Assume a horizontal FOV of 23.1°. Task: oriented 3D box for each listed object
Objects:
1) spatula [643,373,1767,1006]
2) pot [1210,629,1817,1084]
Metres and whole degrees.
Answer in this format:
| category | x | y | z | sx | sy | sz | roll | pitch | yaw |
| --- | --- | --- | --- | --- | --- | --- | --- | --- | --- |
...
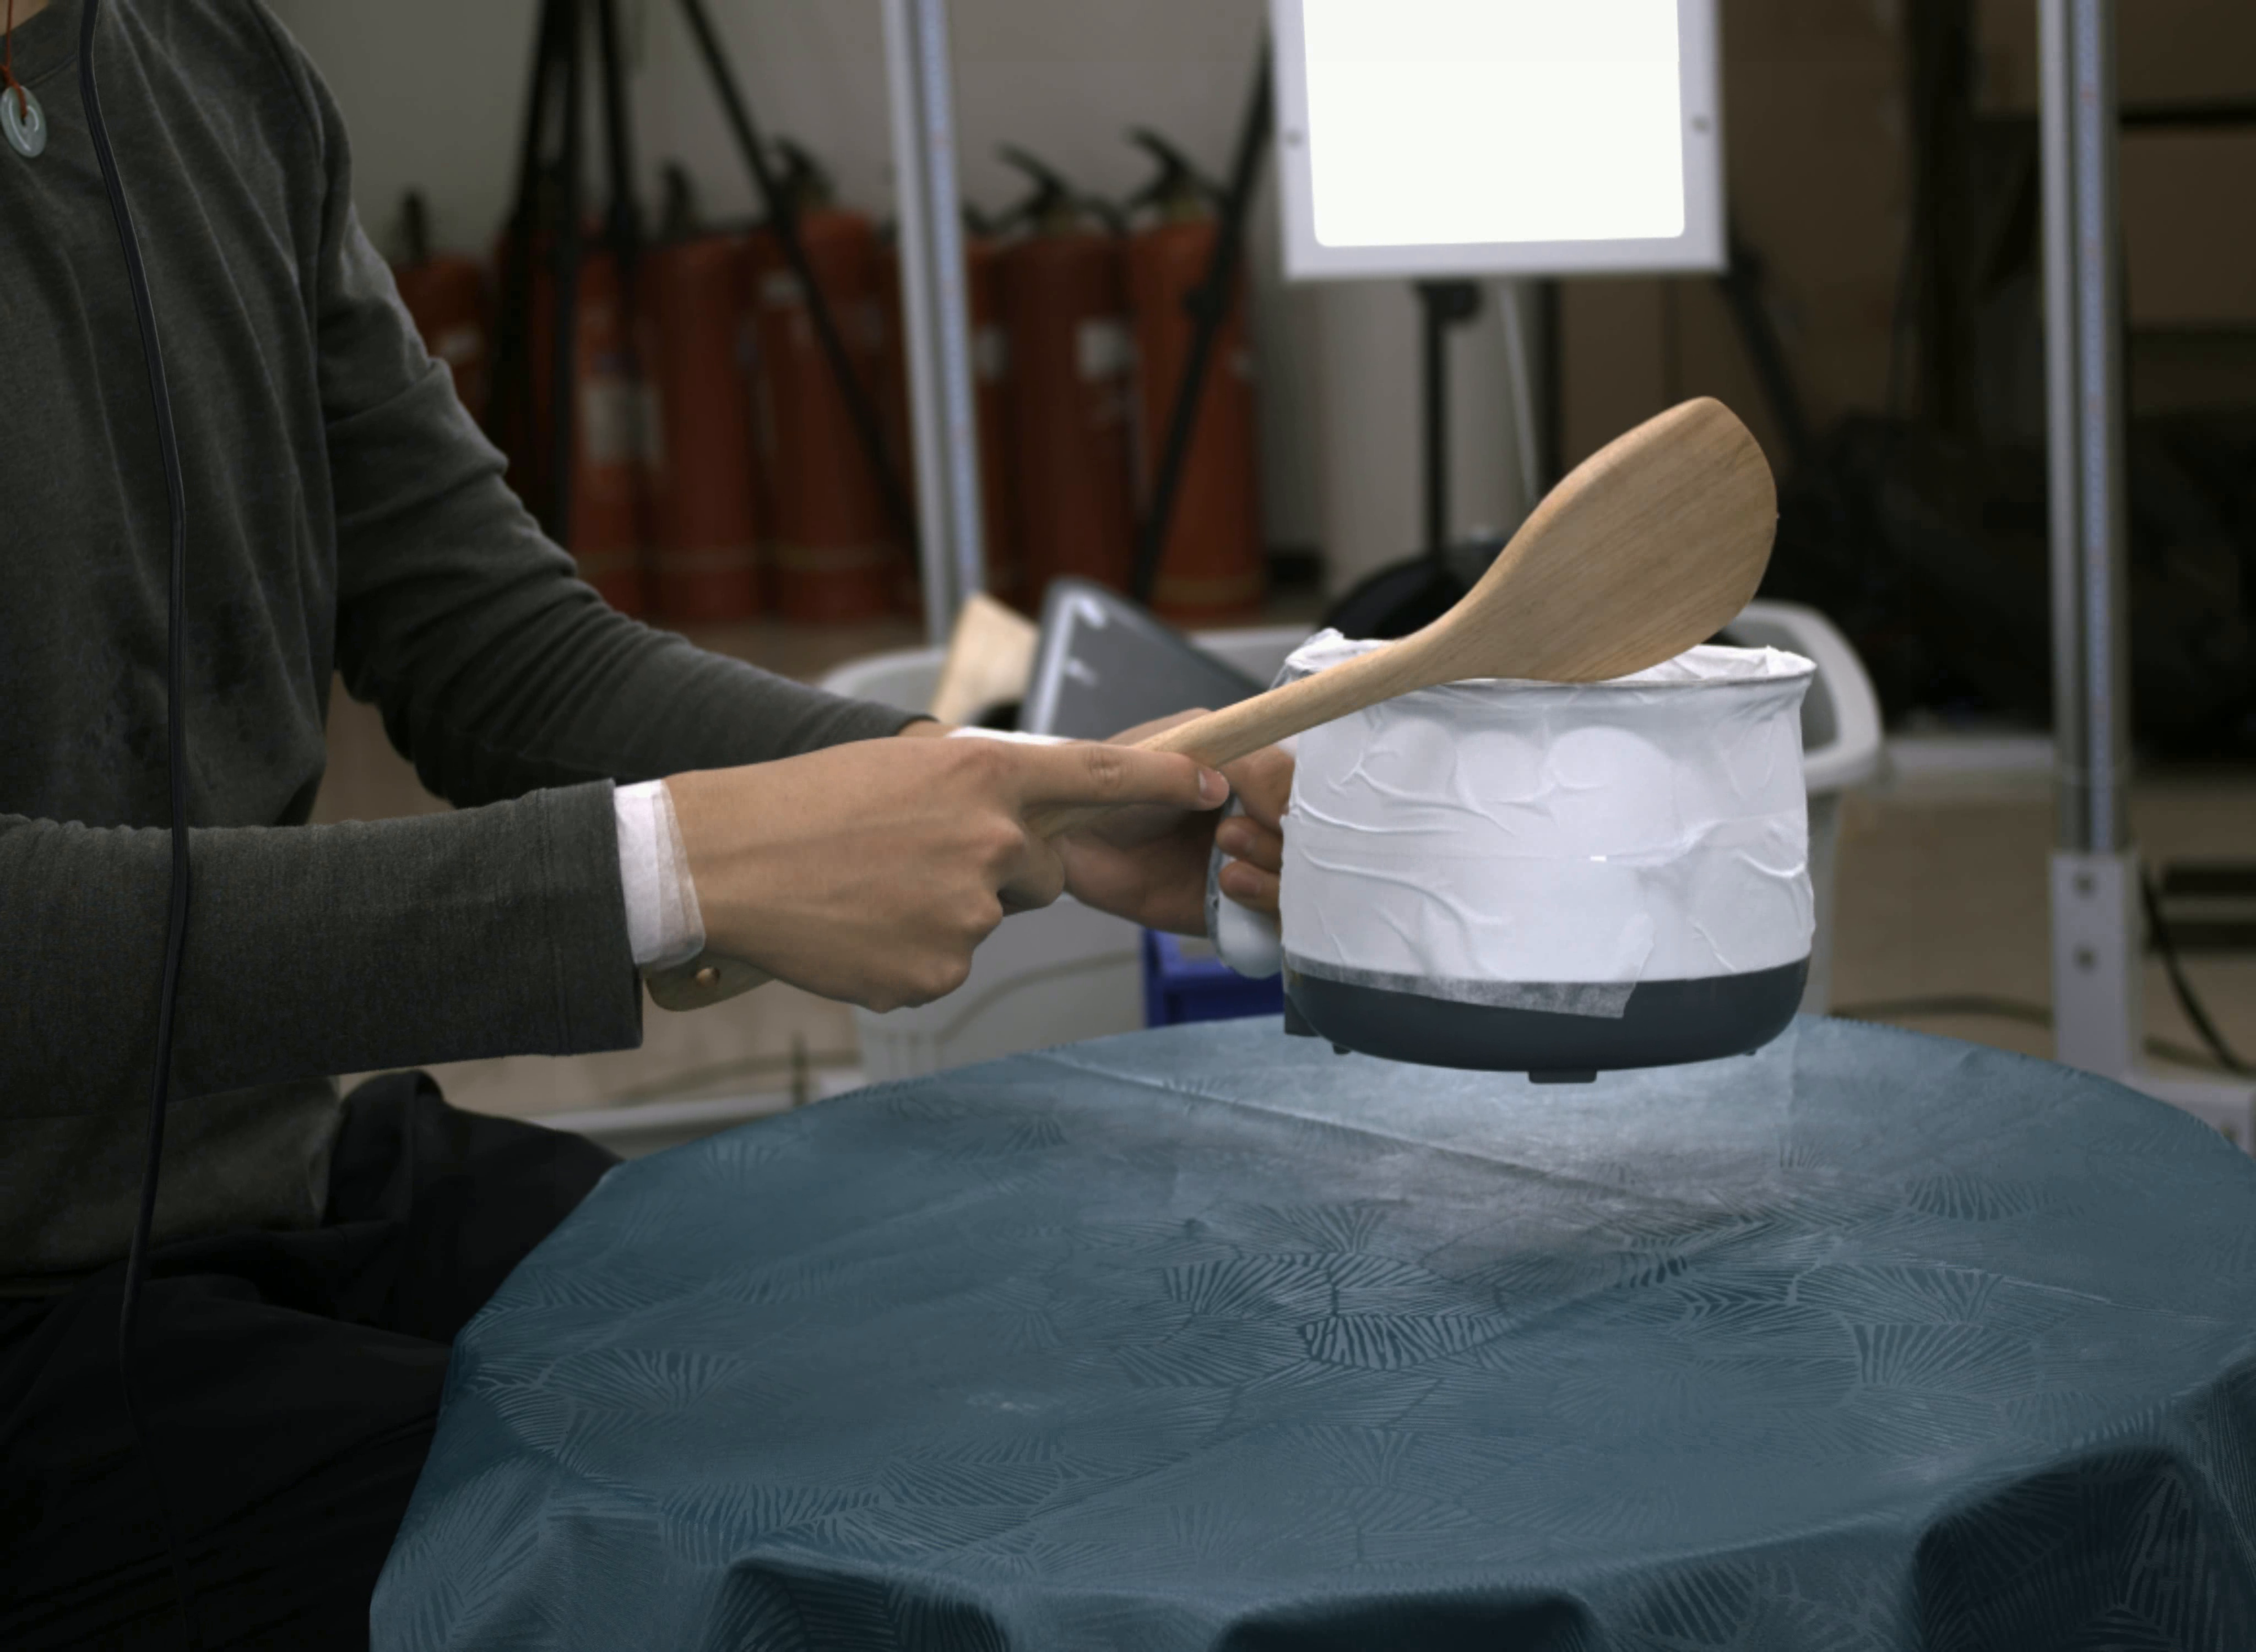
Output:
| category | x | y | z | sx | sy | sz | roll | pitch | yaw |
| --- | --- | --- | --- | --- | --- | --- | --- | --- | --- |
| spatula | 0.025 | -0.033 | 1.728 | 0.390 | 0.095 | 0.018 | -23 | 41 | 0 |
| pot | 0.120 | 0.005 | 1.849 | 0.239 | 0.137 | 0.174 | 6 | 9 | 44 |
